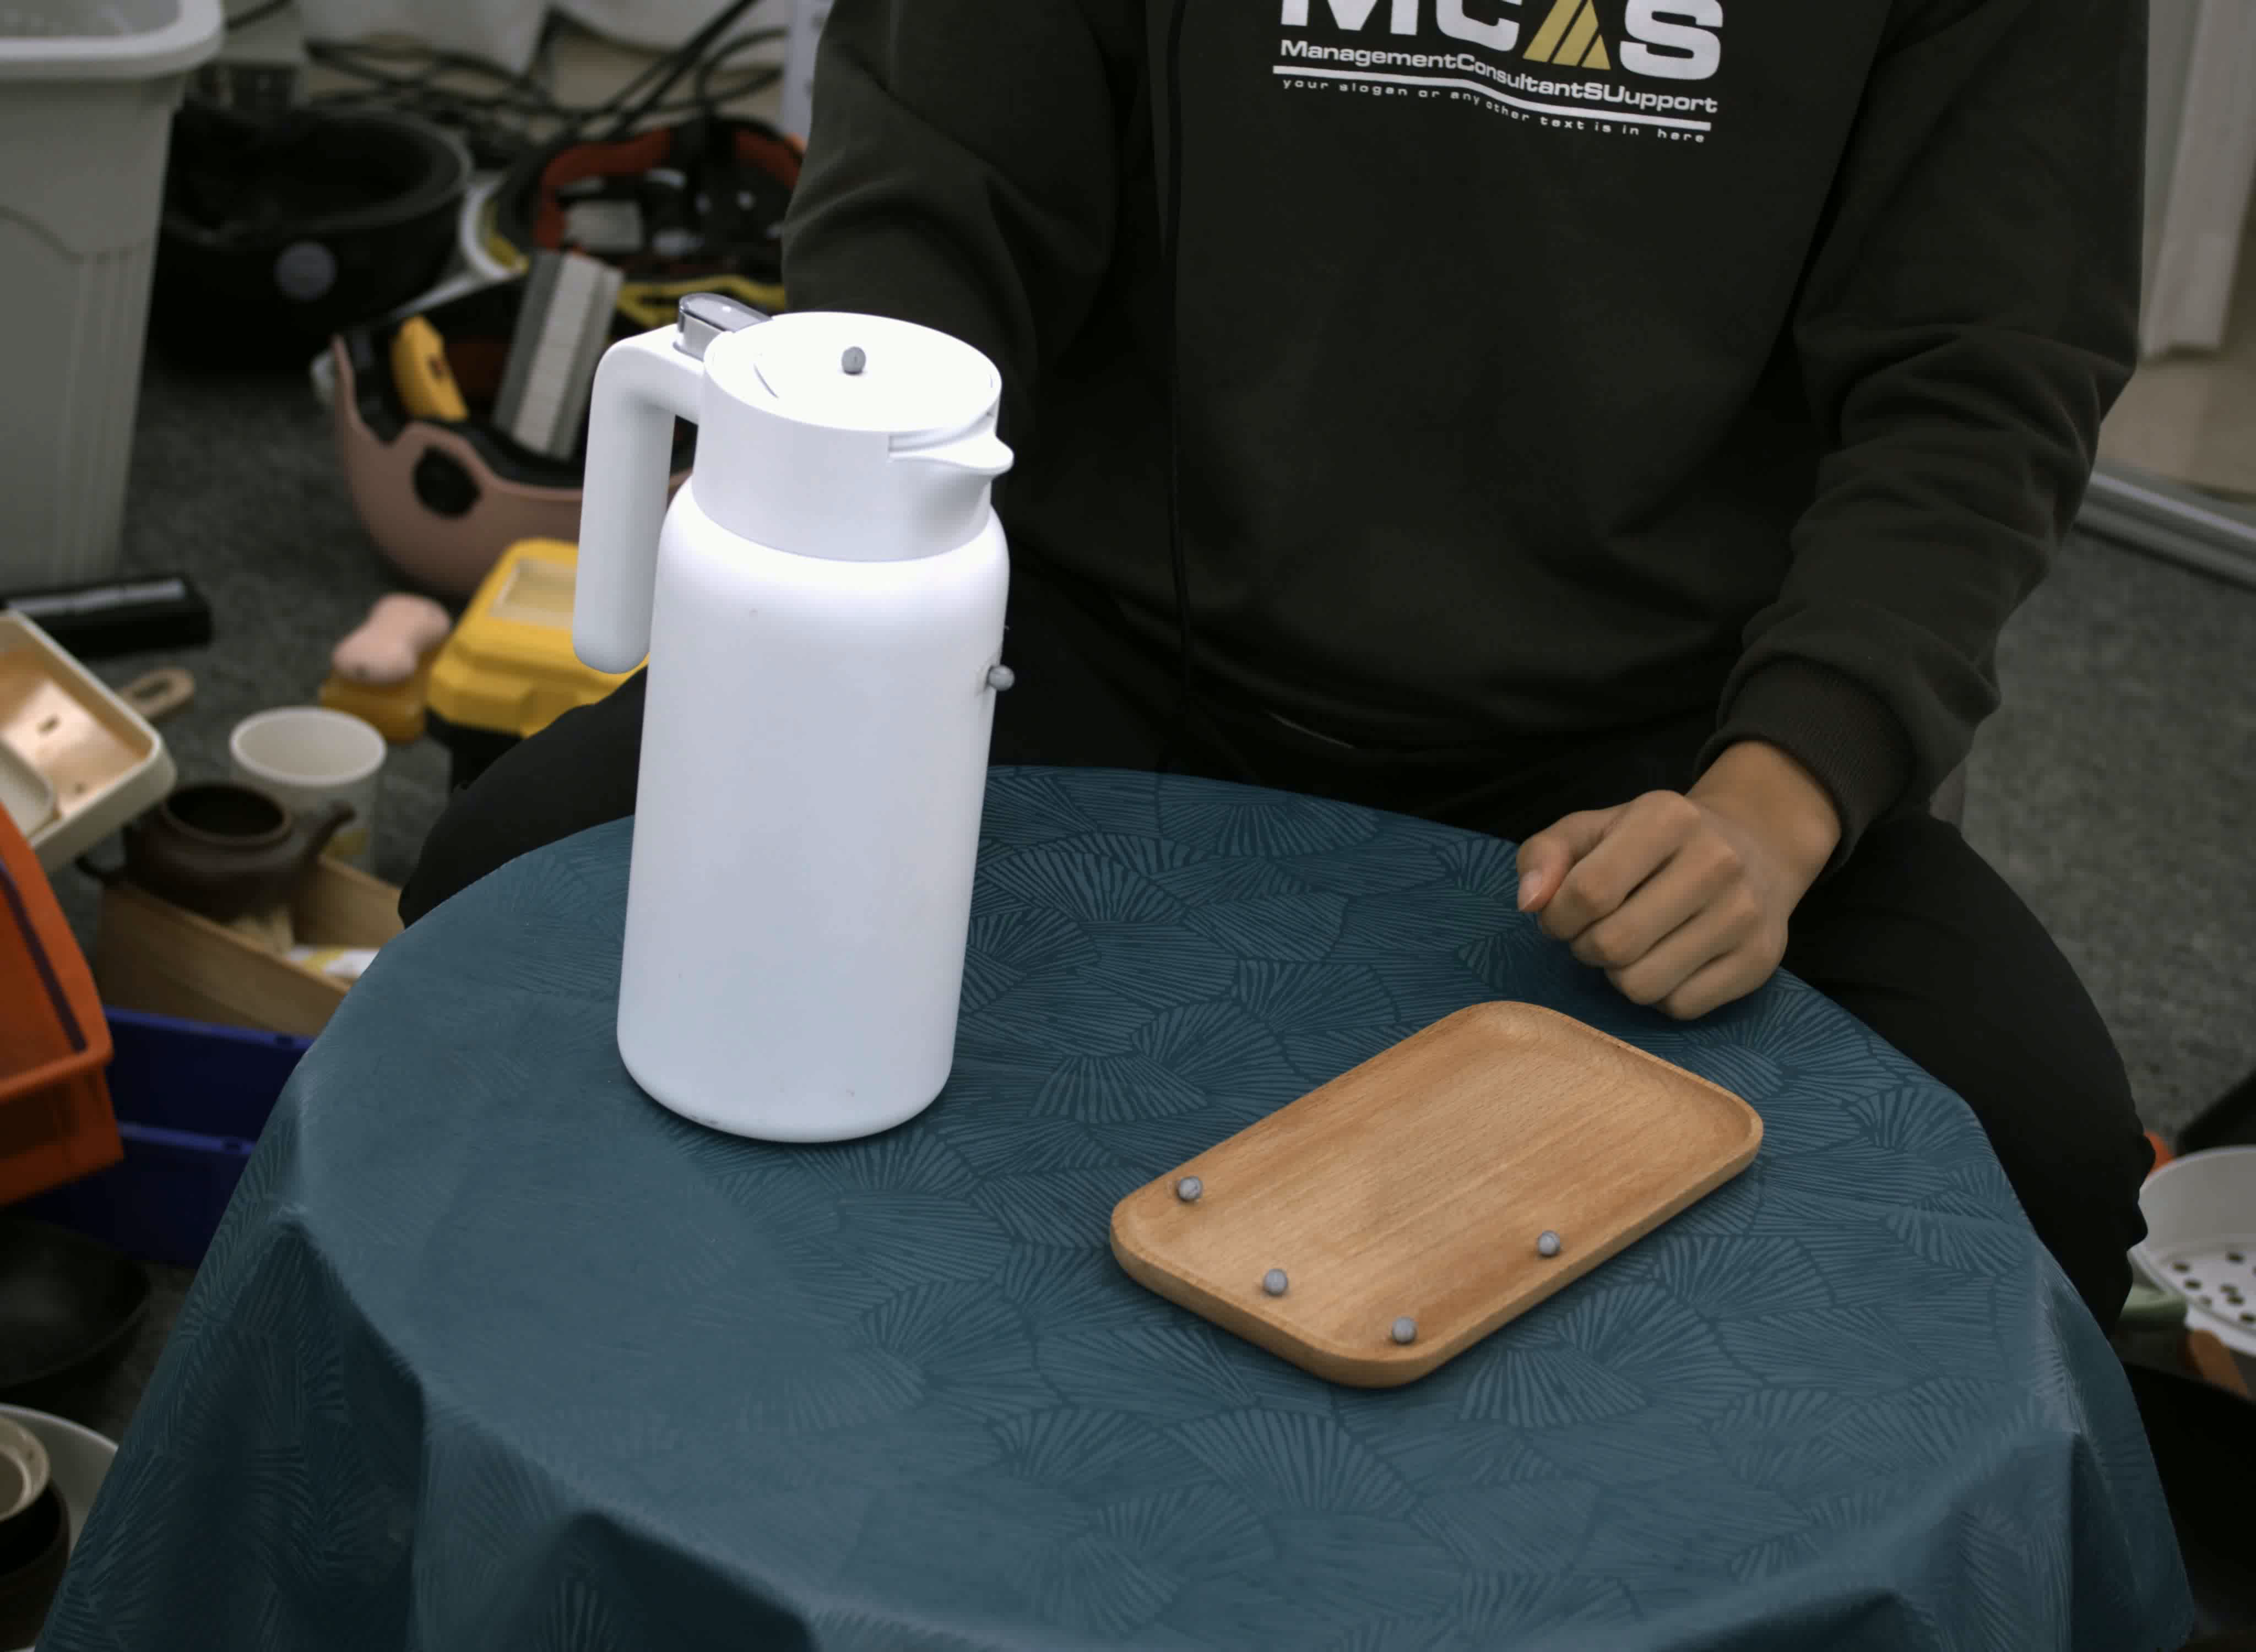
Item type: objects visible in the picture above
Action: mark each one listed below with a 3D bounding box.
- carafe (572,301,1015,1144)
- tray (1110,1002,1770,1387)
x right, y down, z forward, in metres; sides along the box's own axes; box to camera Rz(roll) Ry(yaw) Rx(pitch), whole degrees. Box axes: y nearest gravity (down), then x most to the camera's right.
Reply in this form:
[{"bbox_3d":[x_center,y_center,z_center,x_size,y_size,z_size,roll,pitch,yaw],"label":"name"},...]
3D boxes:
[{"bbox_3d":[-0.120,-0.039,1.805,0.174,0.268,0.123,25,33,32],"label":"carafe"},{"bbox_3d":[0.109,0.123,1.816,0.131,0.023,0.249,28,32,31],"label":"tray"}]
